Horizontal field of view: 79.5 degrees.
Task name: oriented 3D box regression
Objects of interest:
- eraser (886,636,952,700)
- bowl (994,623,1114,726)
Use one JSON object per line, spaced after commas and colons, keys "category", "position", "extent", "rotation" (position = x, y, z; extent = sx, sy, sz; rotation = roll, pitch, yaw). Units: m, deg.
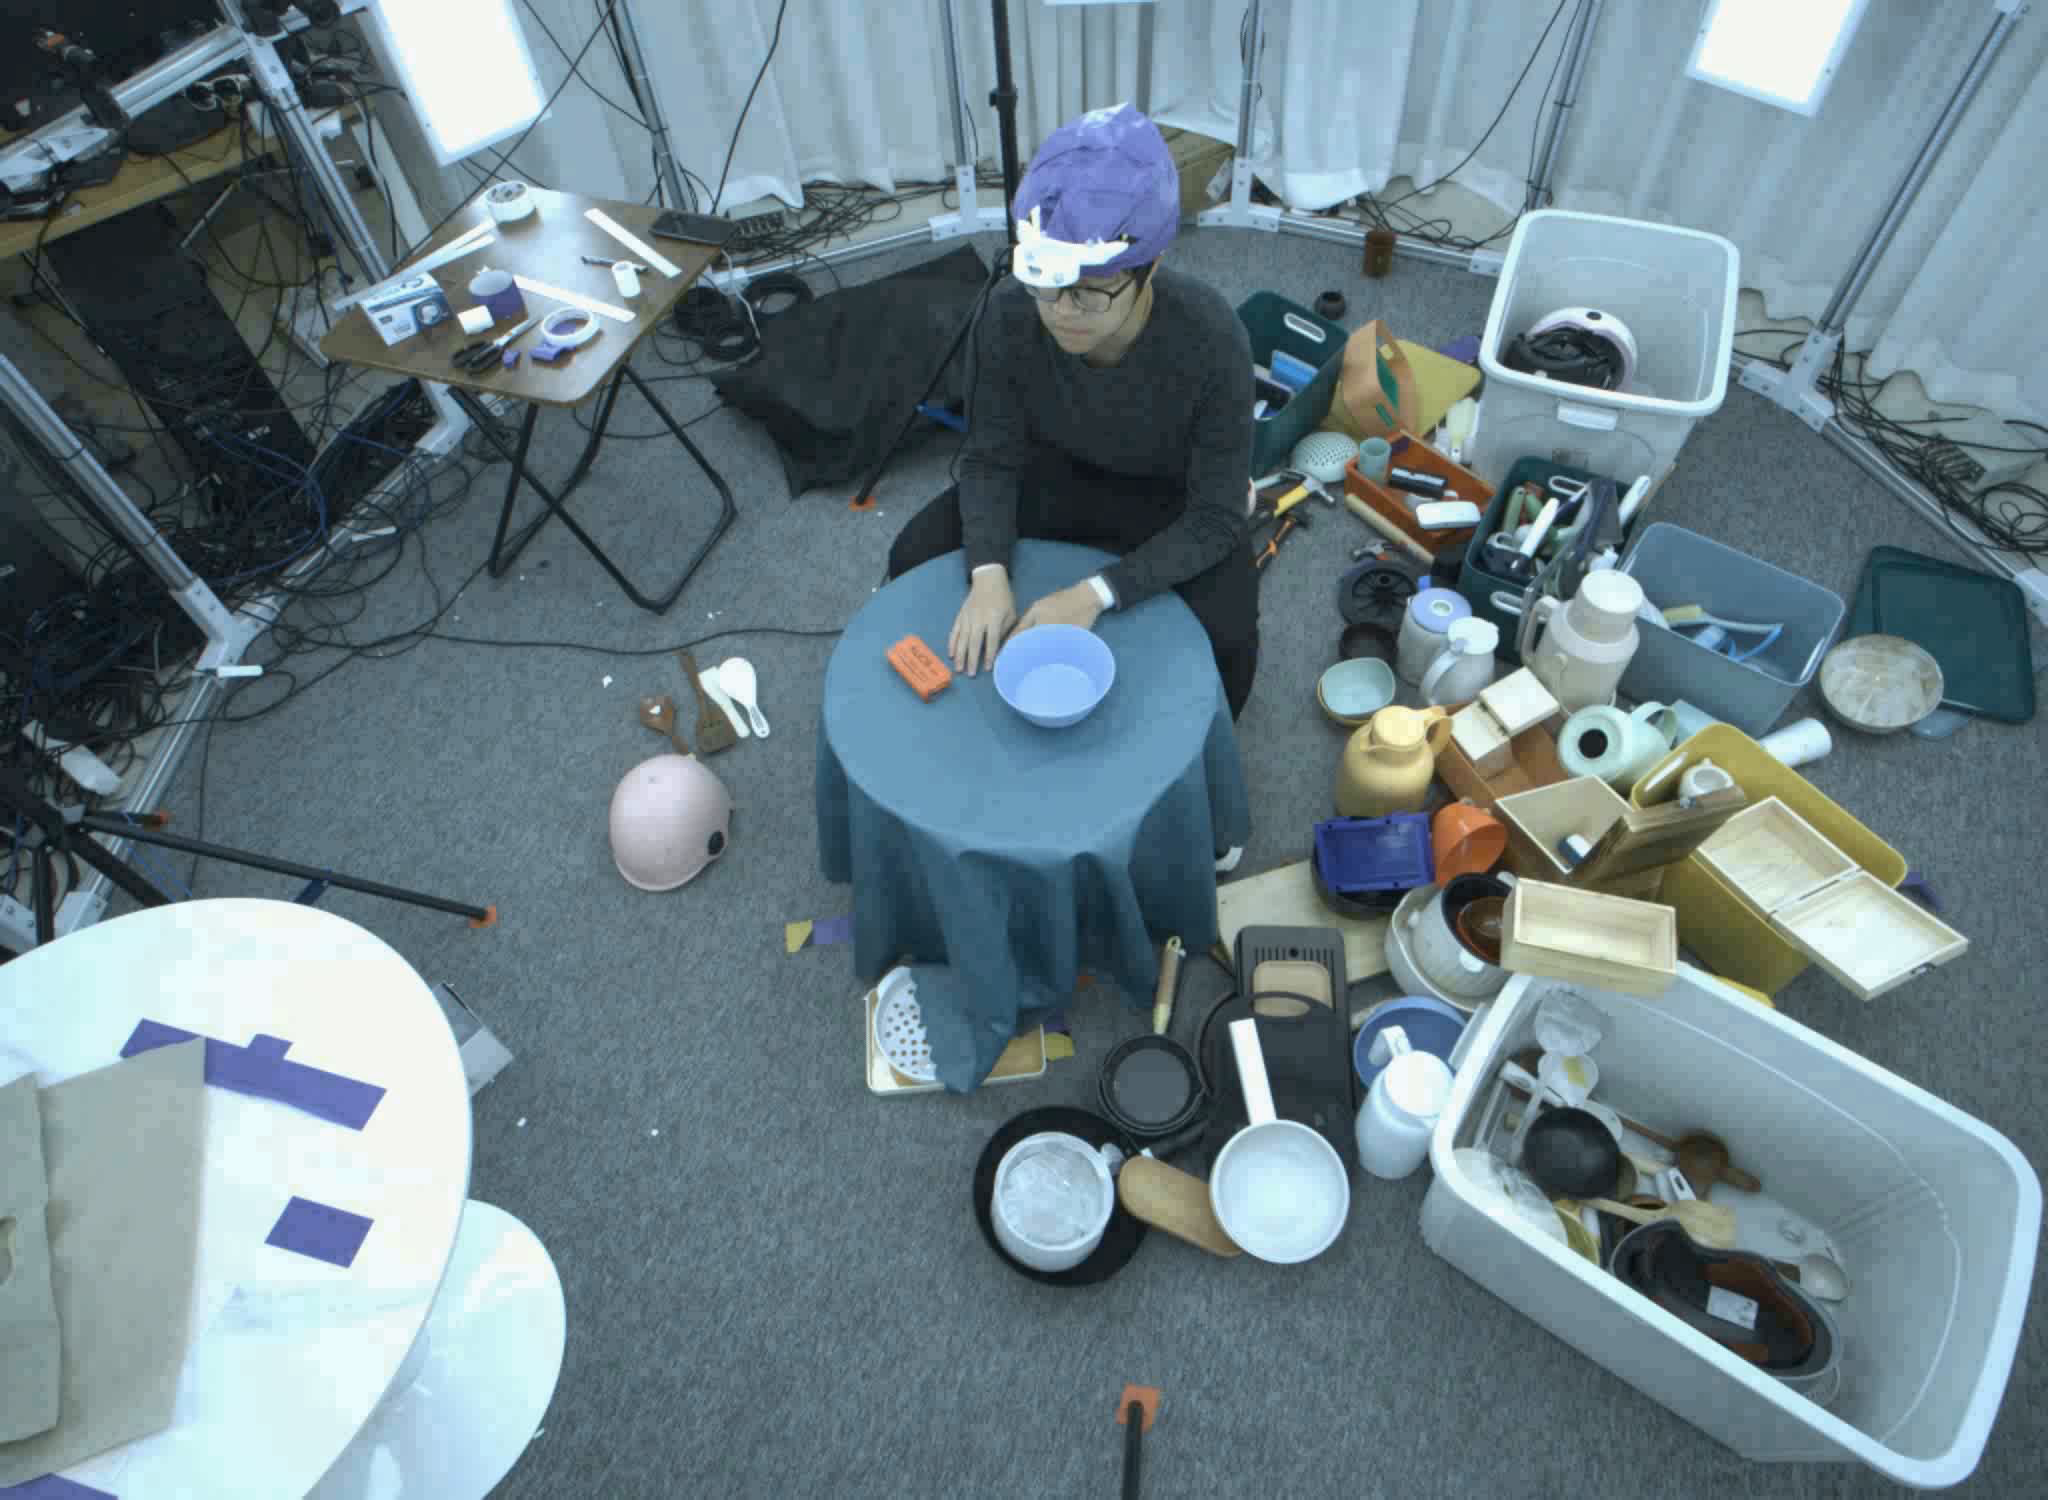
{"category": "eraser", "position": [-0.161, -0.126, 1.868], "extent": [0.059, 0.023, 0.106], "rotation": [-33, 60, -18]}
{"category": "bowl", "position": [0.046, -0.101, 1.815], "extent": [0.176, 0.071, 0.174], "rotation": [-1, 55, 2]}
